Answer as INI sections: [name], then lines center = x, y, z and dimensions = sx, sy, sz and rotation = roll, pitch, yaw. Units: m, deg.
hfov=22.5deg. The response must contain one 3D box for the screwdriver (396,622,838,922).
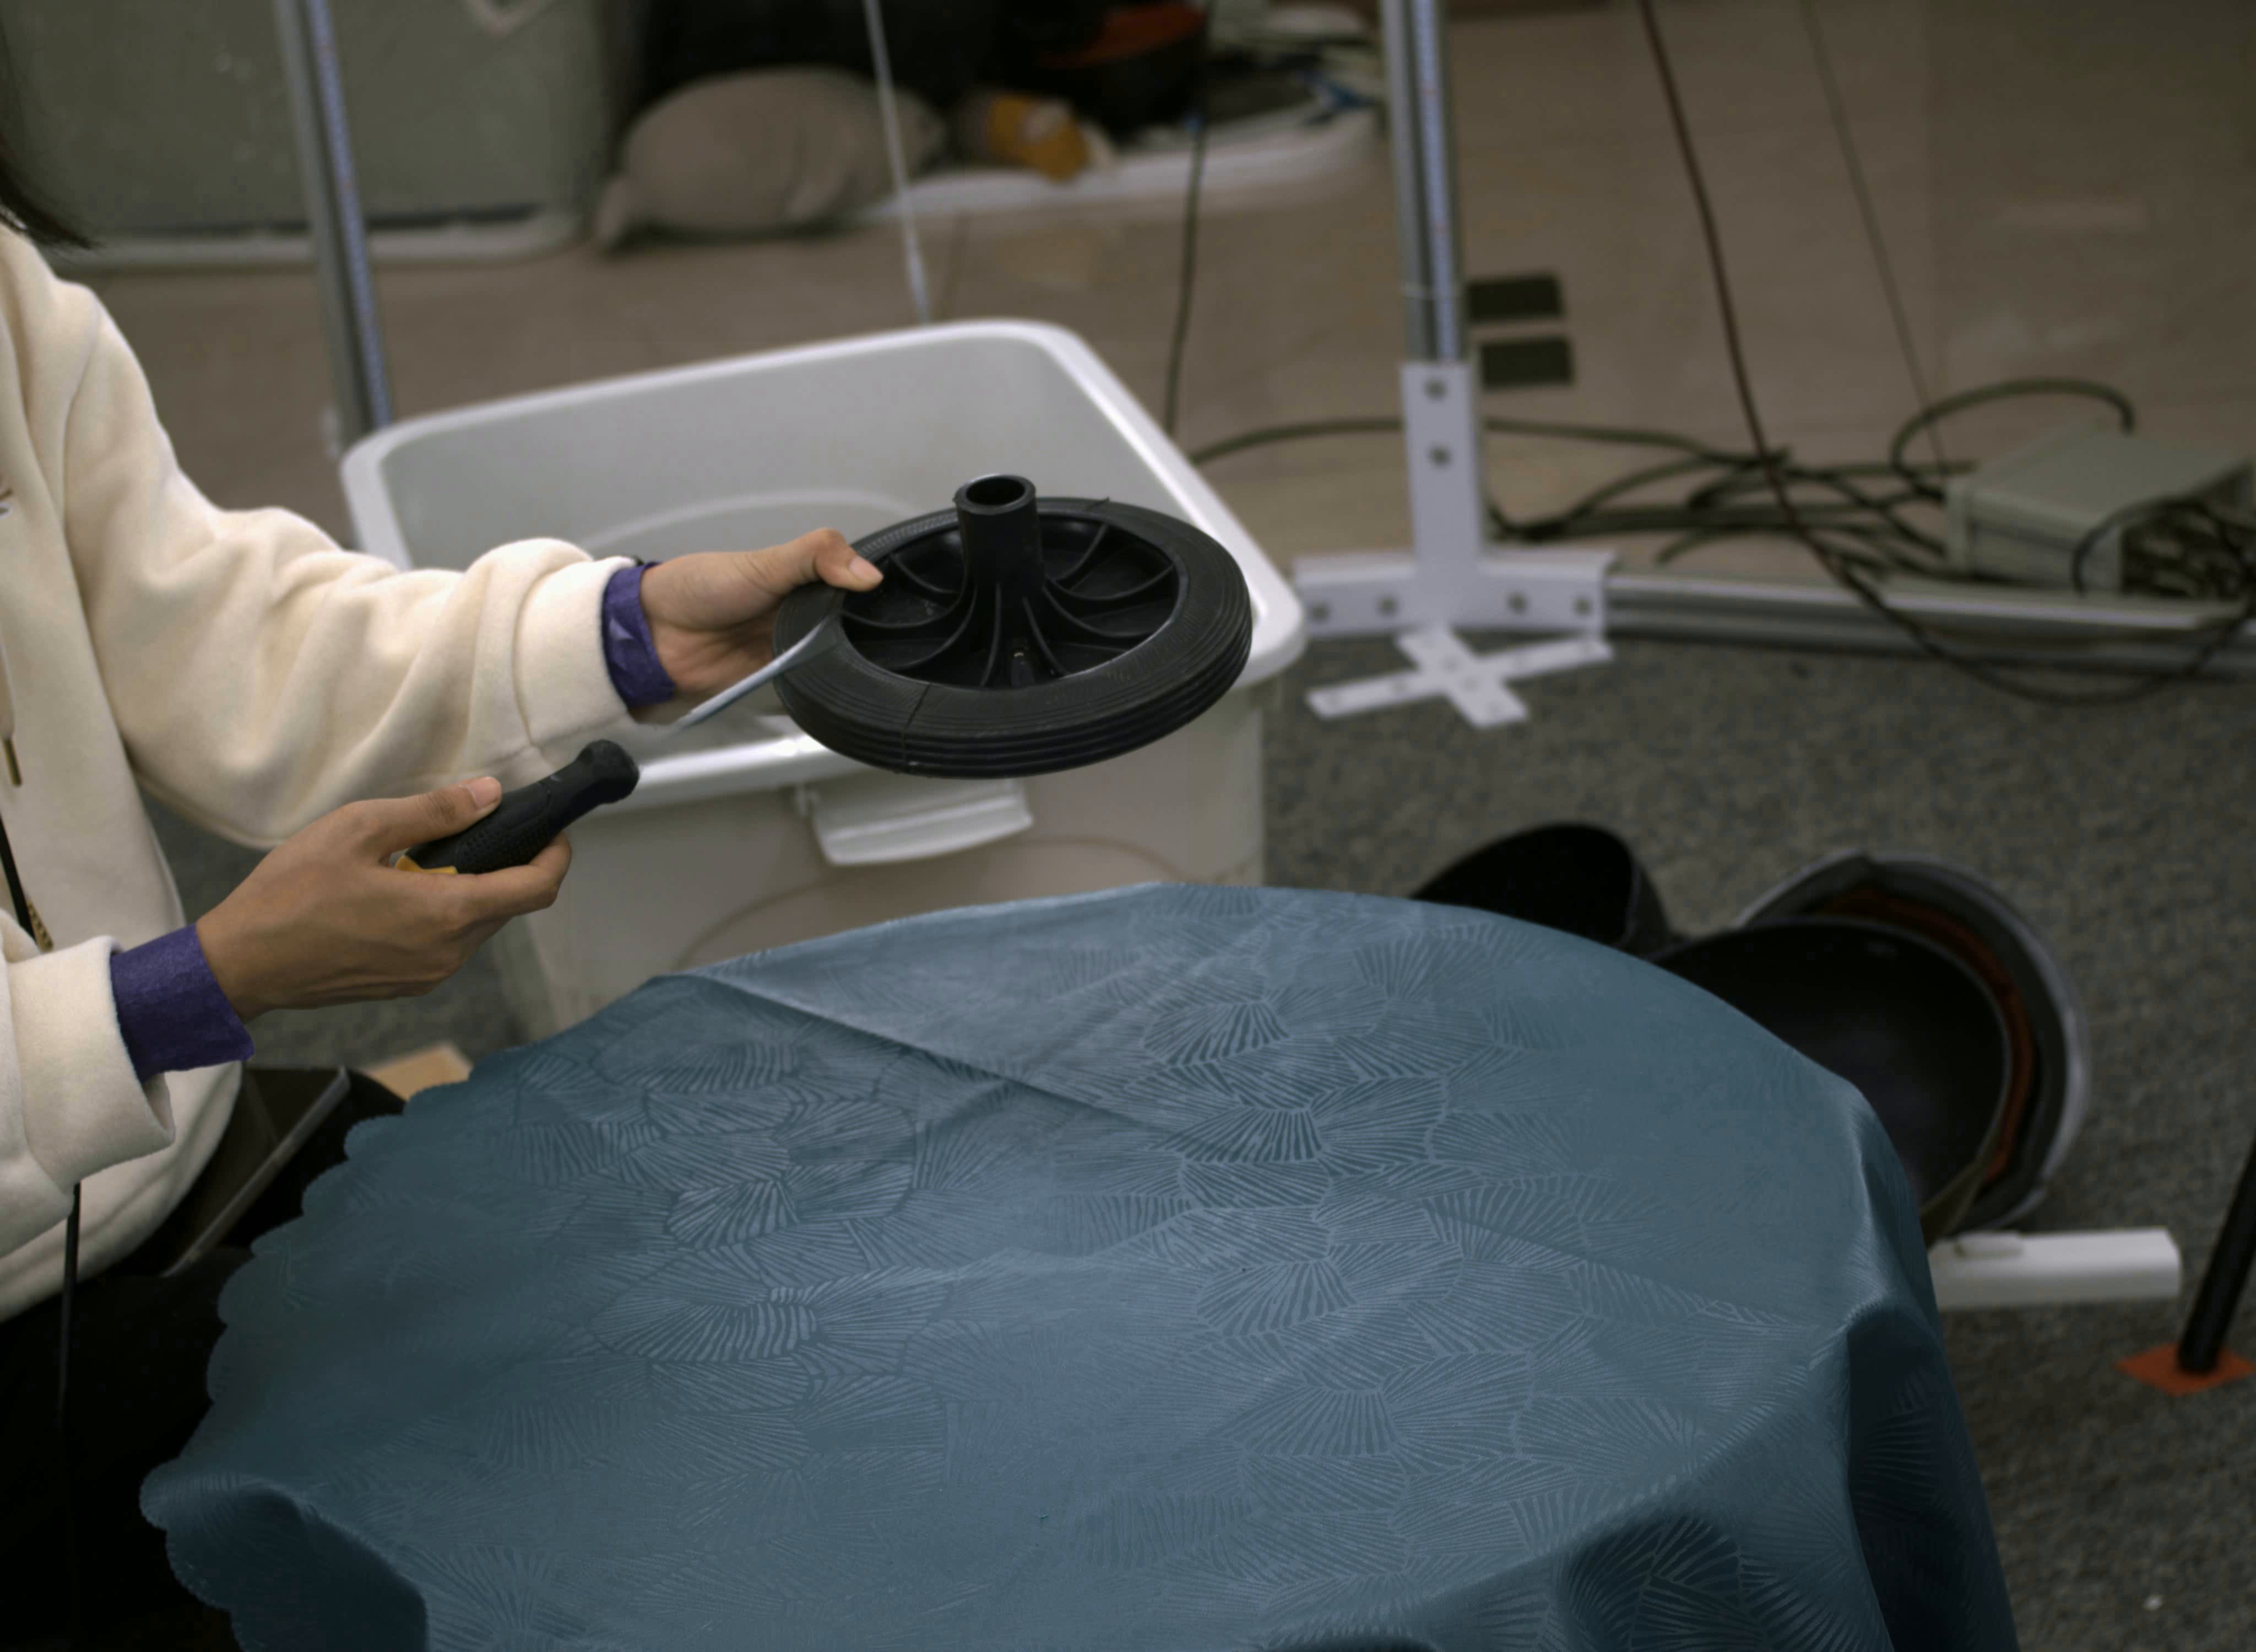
[screwdriver]
center = -0.186, -0.021, 2.096
dimensions = 0.196, 0.032, 0.031
rotation = -31, 33, -21

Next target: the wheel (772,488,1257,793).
[wheel]
center = -0.046, -0.089, 2.190
dimensions = 0.186, 0.080, 0.187
rotation = -21, 37, -22
